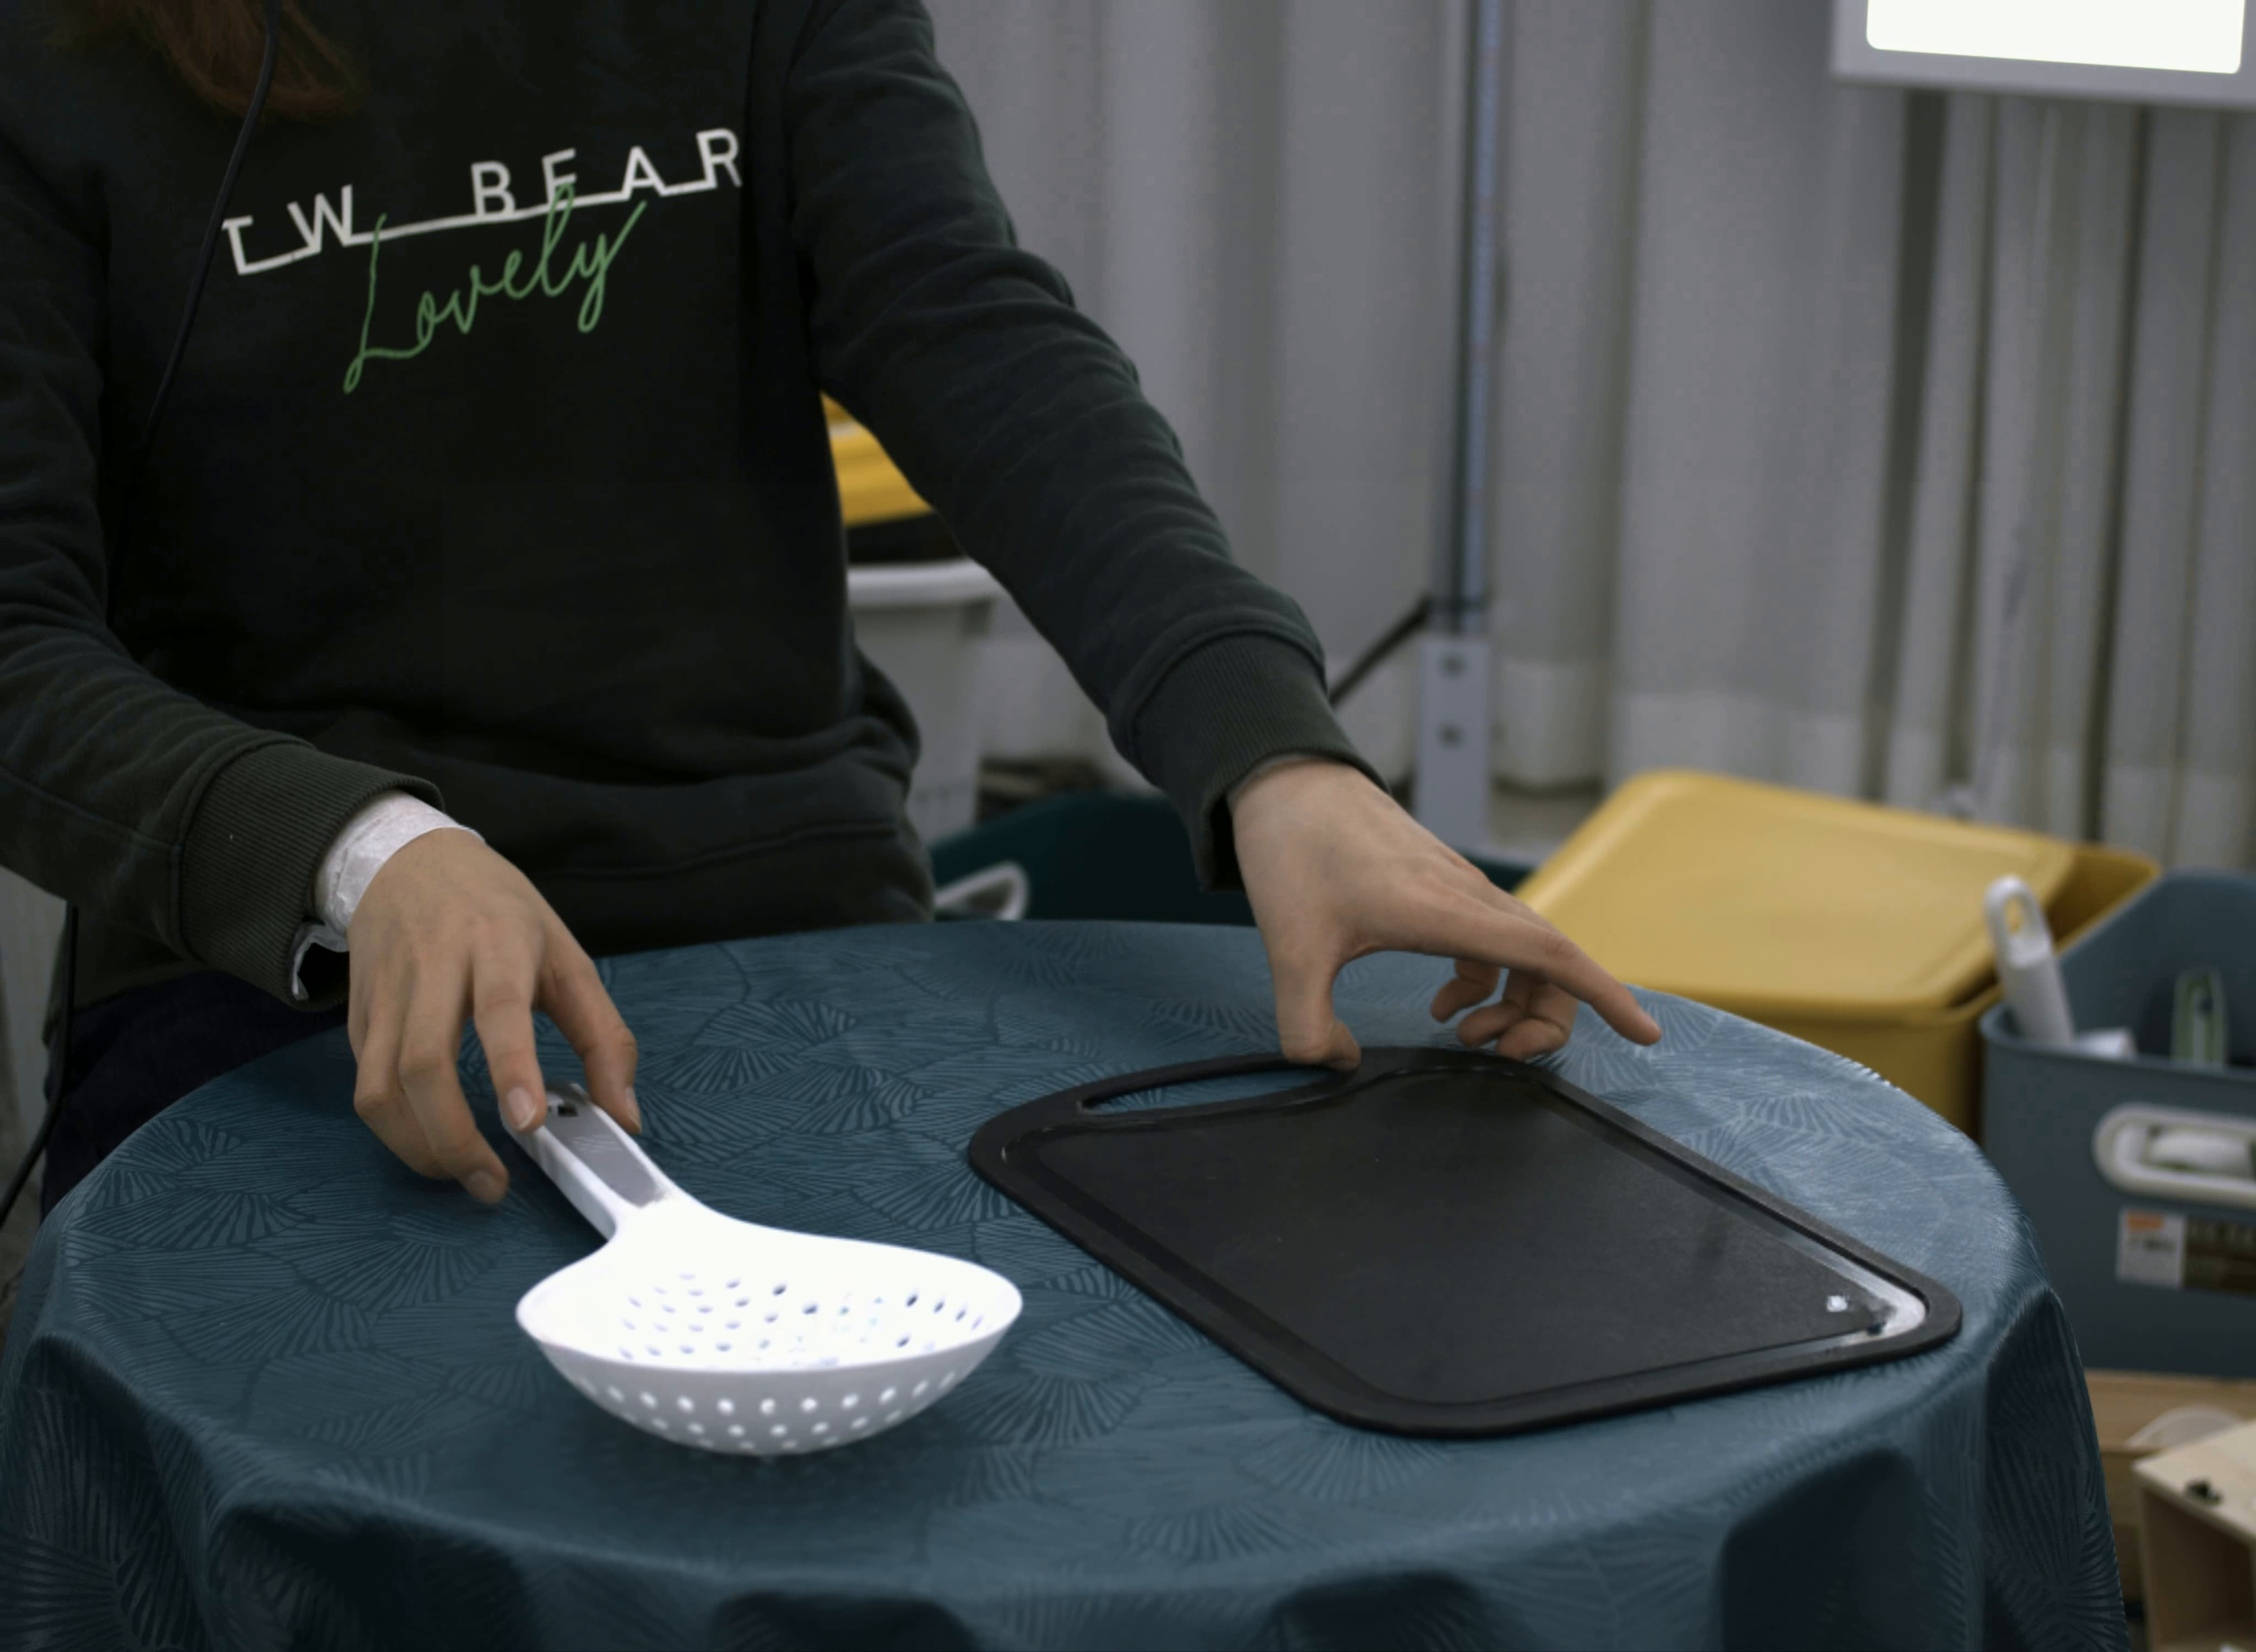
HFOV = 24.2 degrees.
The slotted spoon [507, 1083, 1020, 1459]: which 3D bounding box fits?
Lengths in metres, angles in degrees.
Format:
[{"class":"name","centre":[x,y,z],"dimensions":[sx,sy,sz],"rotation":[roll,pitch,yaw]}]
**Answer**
[{"class":"slotted spoon","centre":[-0.132,0.118,1.517],"dimensions":[0.136,0.046,0.346],"rotation":[-2,15,-19]}]

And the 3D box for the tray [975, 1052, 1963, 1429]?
[{"class":"tray","centre":[0.092,0.118,1.599],"dimensions":[0.212,0.010,0.321],"rotation":[-7,17,-26]}]
